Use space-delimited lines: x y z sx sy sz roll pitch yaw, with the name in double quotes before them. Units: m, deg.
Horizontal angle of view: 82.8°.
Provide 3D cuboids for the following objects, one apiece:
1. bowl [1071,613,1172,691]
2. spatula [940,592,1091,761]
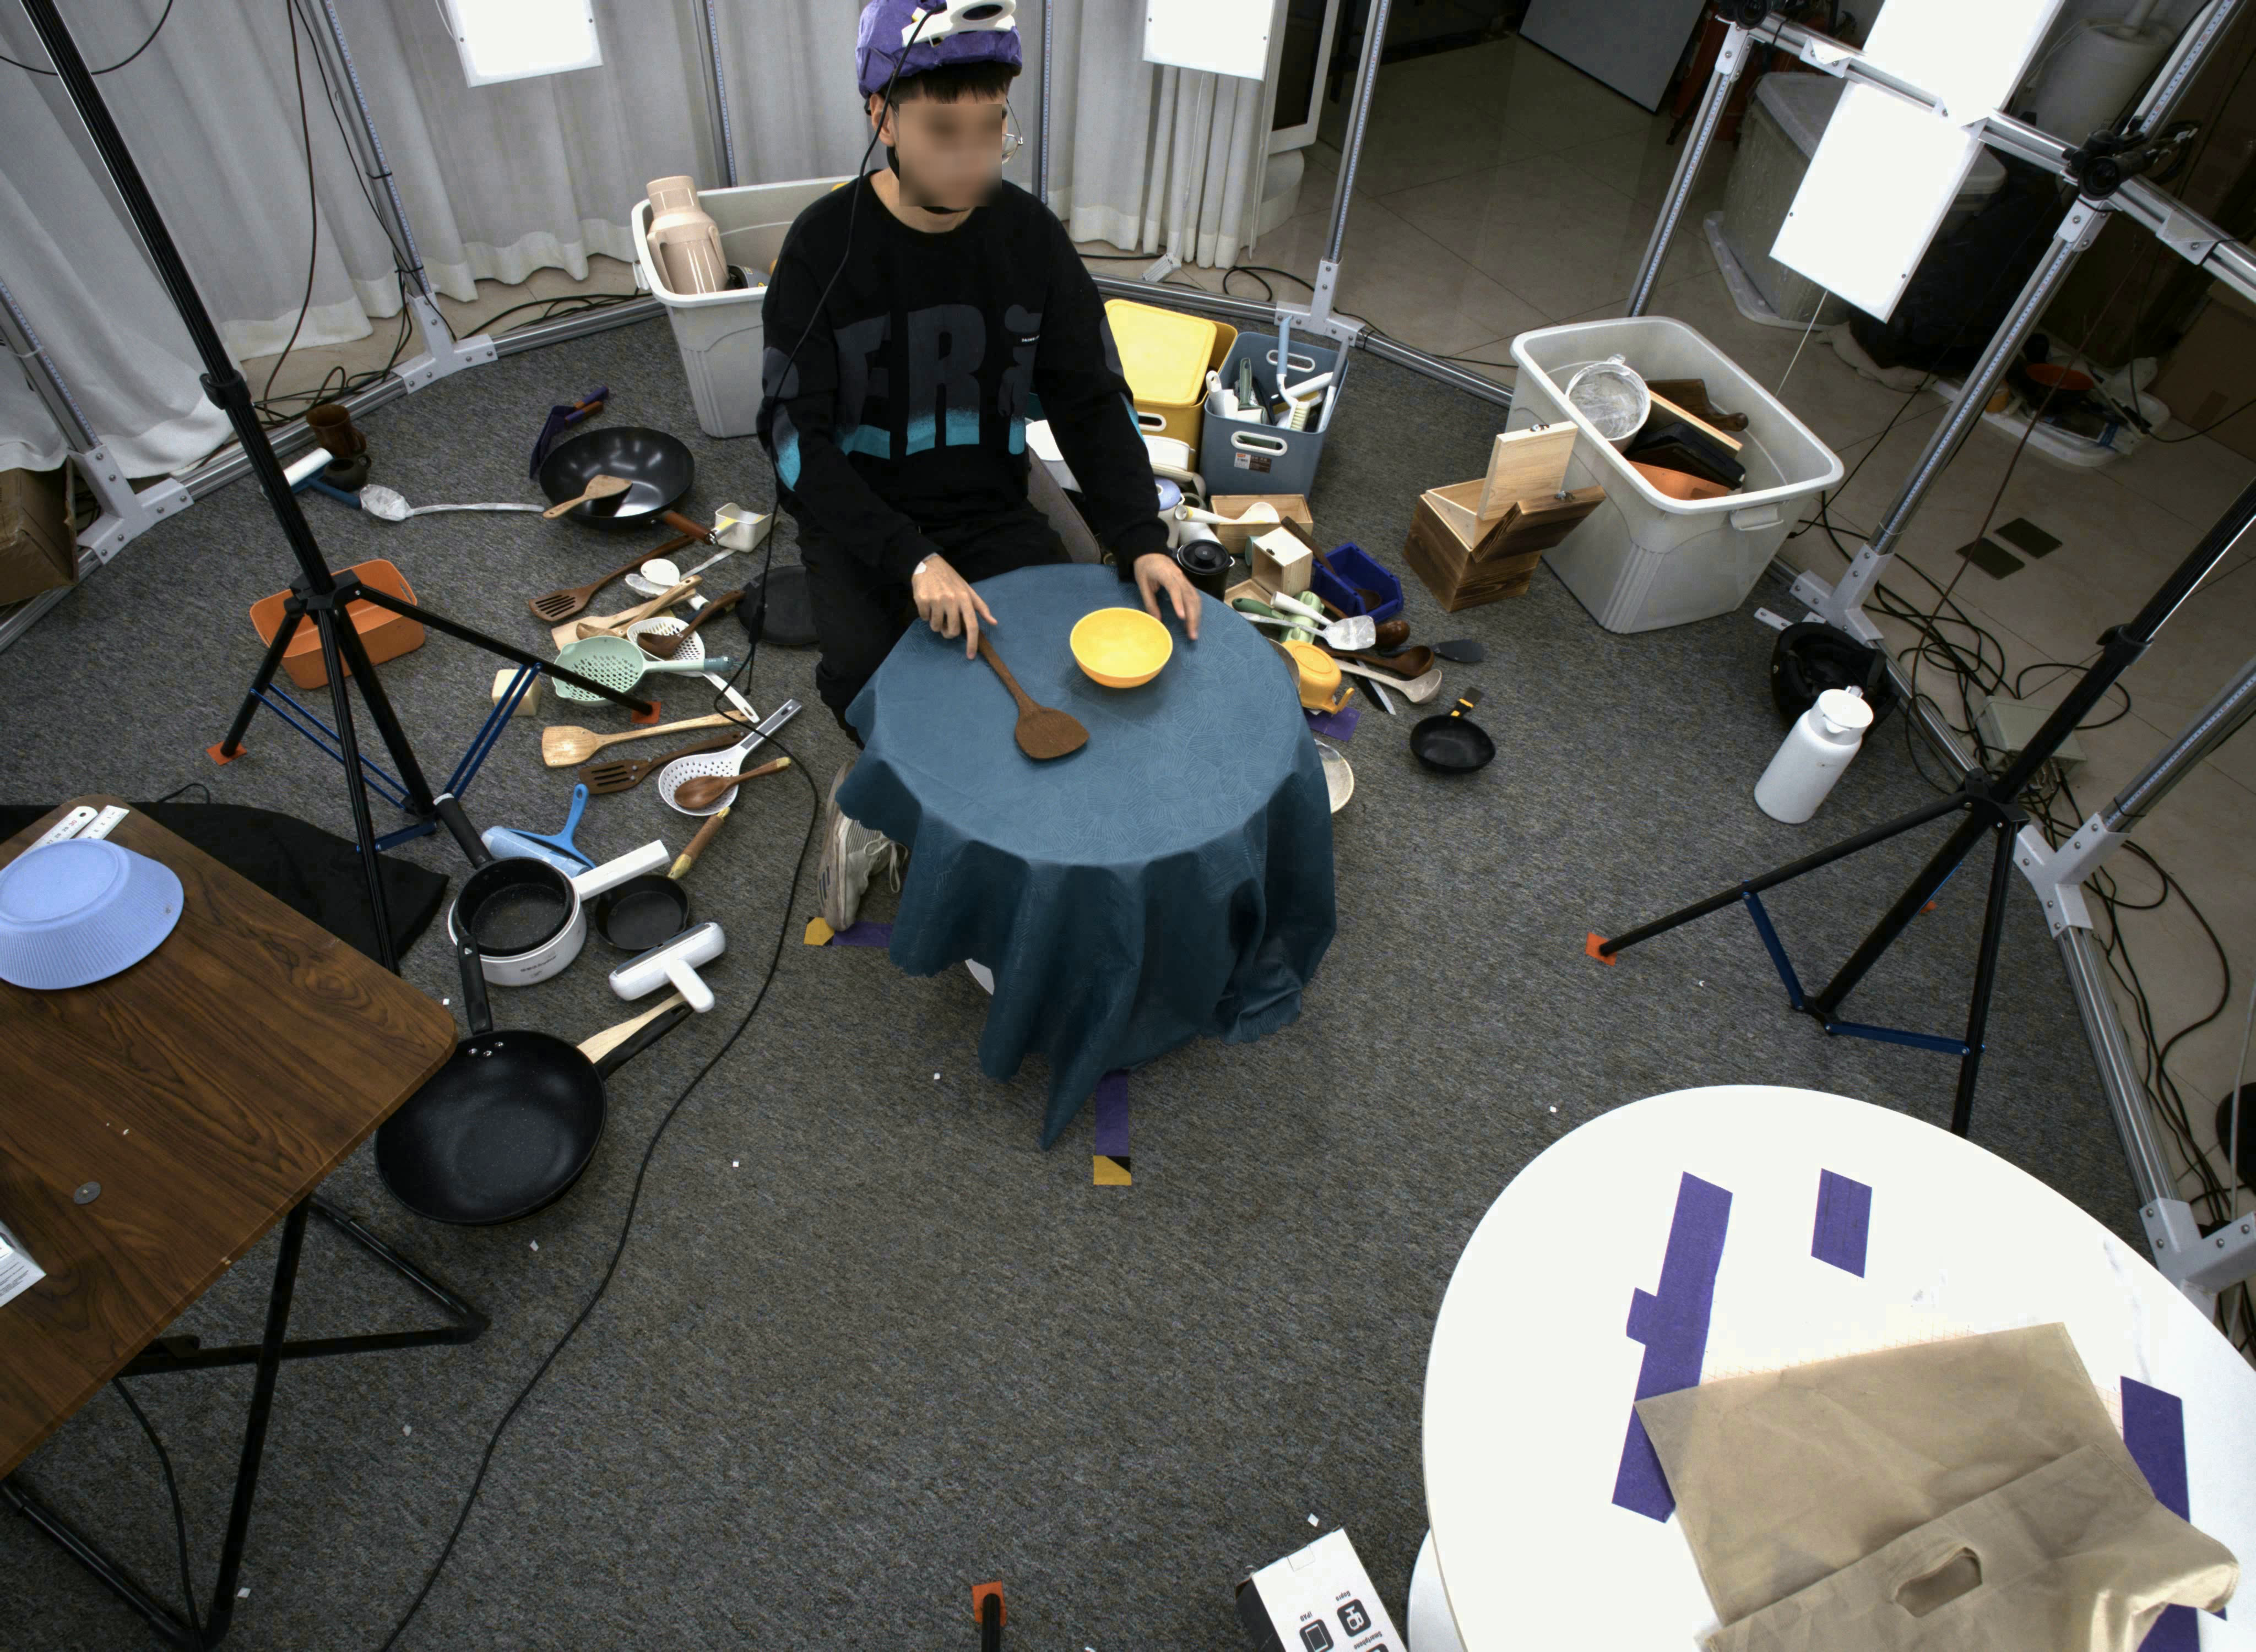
"bowl" -0.011 -0.240 1.858 0.145 0.058 0.149 3 47 -4
"spatula" -0.182 -0.227 1.859 0.096 0.015 0.394 -21 54 -22
